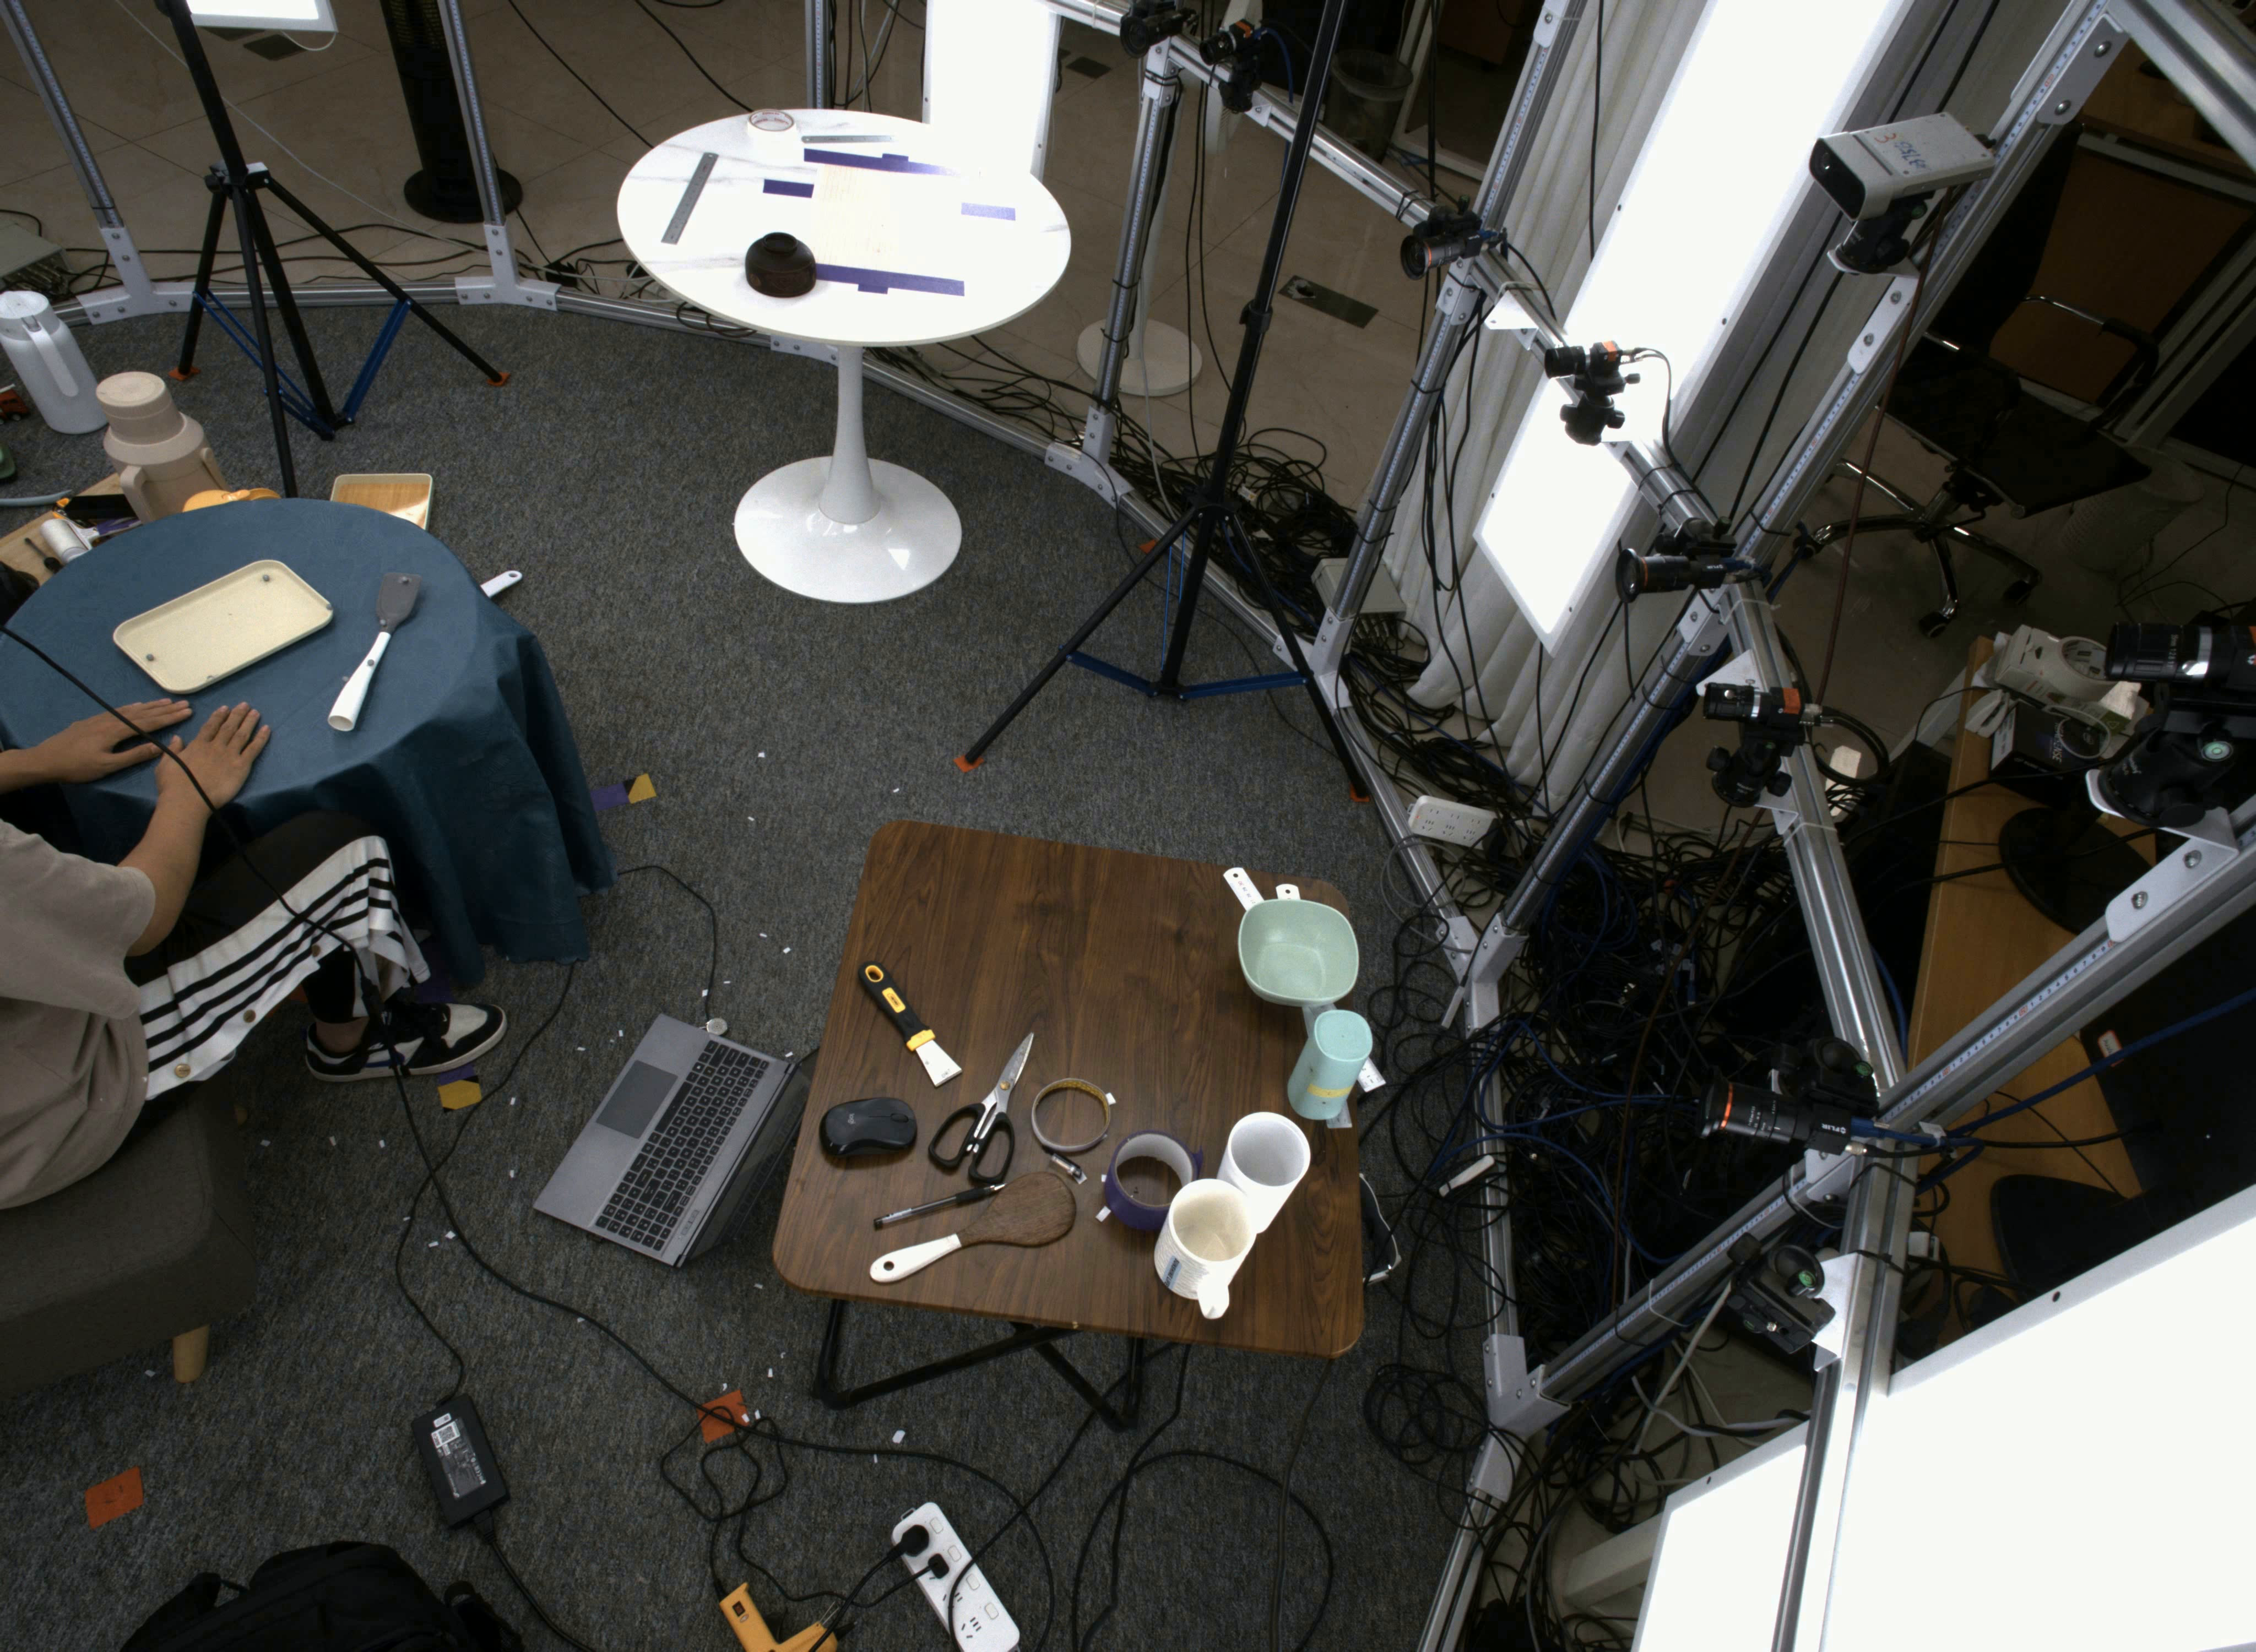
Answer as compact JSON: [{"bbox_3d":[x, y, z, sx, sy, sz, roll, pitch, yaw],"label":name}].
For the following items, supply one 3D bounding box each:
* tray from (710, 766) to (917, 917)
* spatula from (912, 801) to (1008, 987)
[{"bbox_3d":[-0.414,0.018,1.713,0.240,0.018,0.167,-28,63,-29],"label":"tray"},{"bbox_3d":[-0.221,0.081,1.700,0.058,0.033,0.284,14,52,3],"label":"spatula"}]
